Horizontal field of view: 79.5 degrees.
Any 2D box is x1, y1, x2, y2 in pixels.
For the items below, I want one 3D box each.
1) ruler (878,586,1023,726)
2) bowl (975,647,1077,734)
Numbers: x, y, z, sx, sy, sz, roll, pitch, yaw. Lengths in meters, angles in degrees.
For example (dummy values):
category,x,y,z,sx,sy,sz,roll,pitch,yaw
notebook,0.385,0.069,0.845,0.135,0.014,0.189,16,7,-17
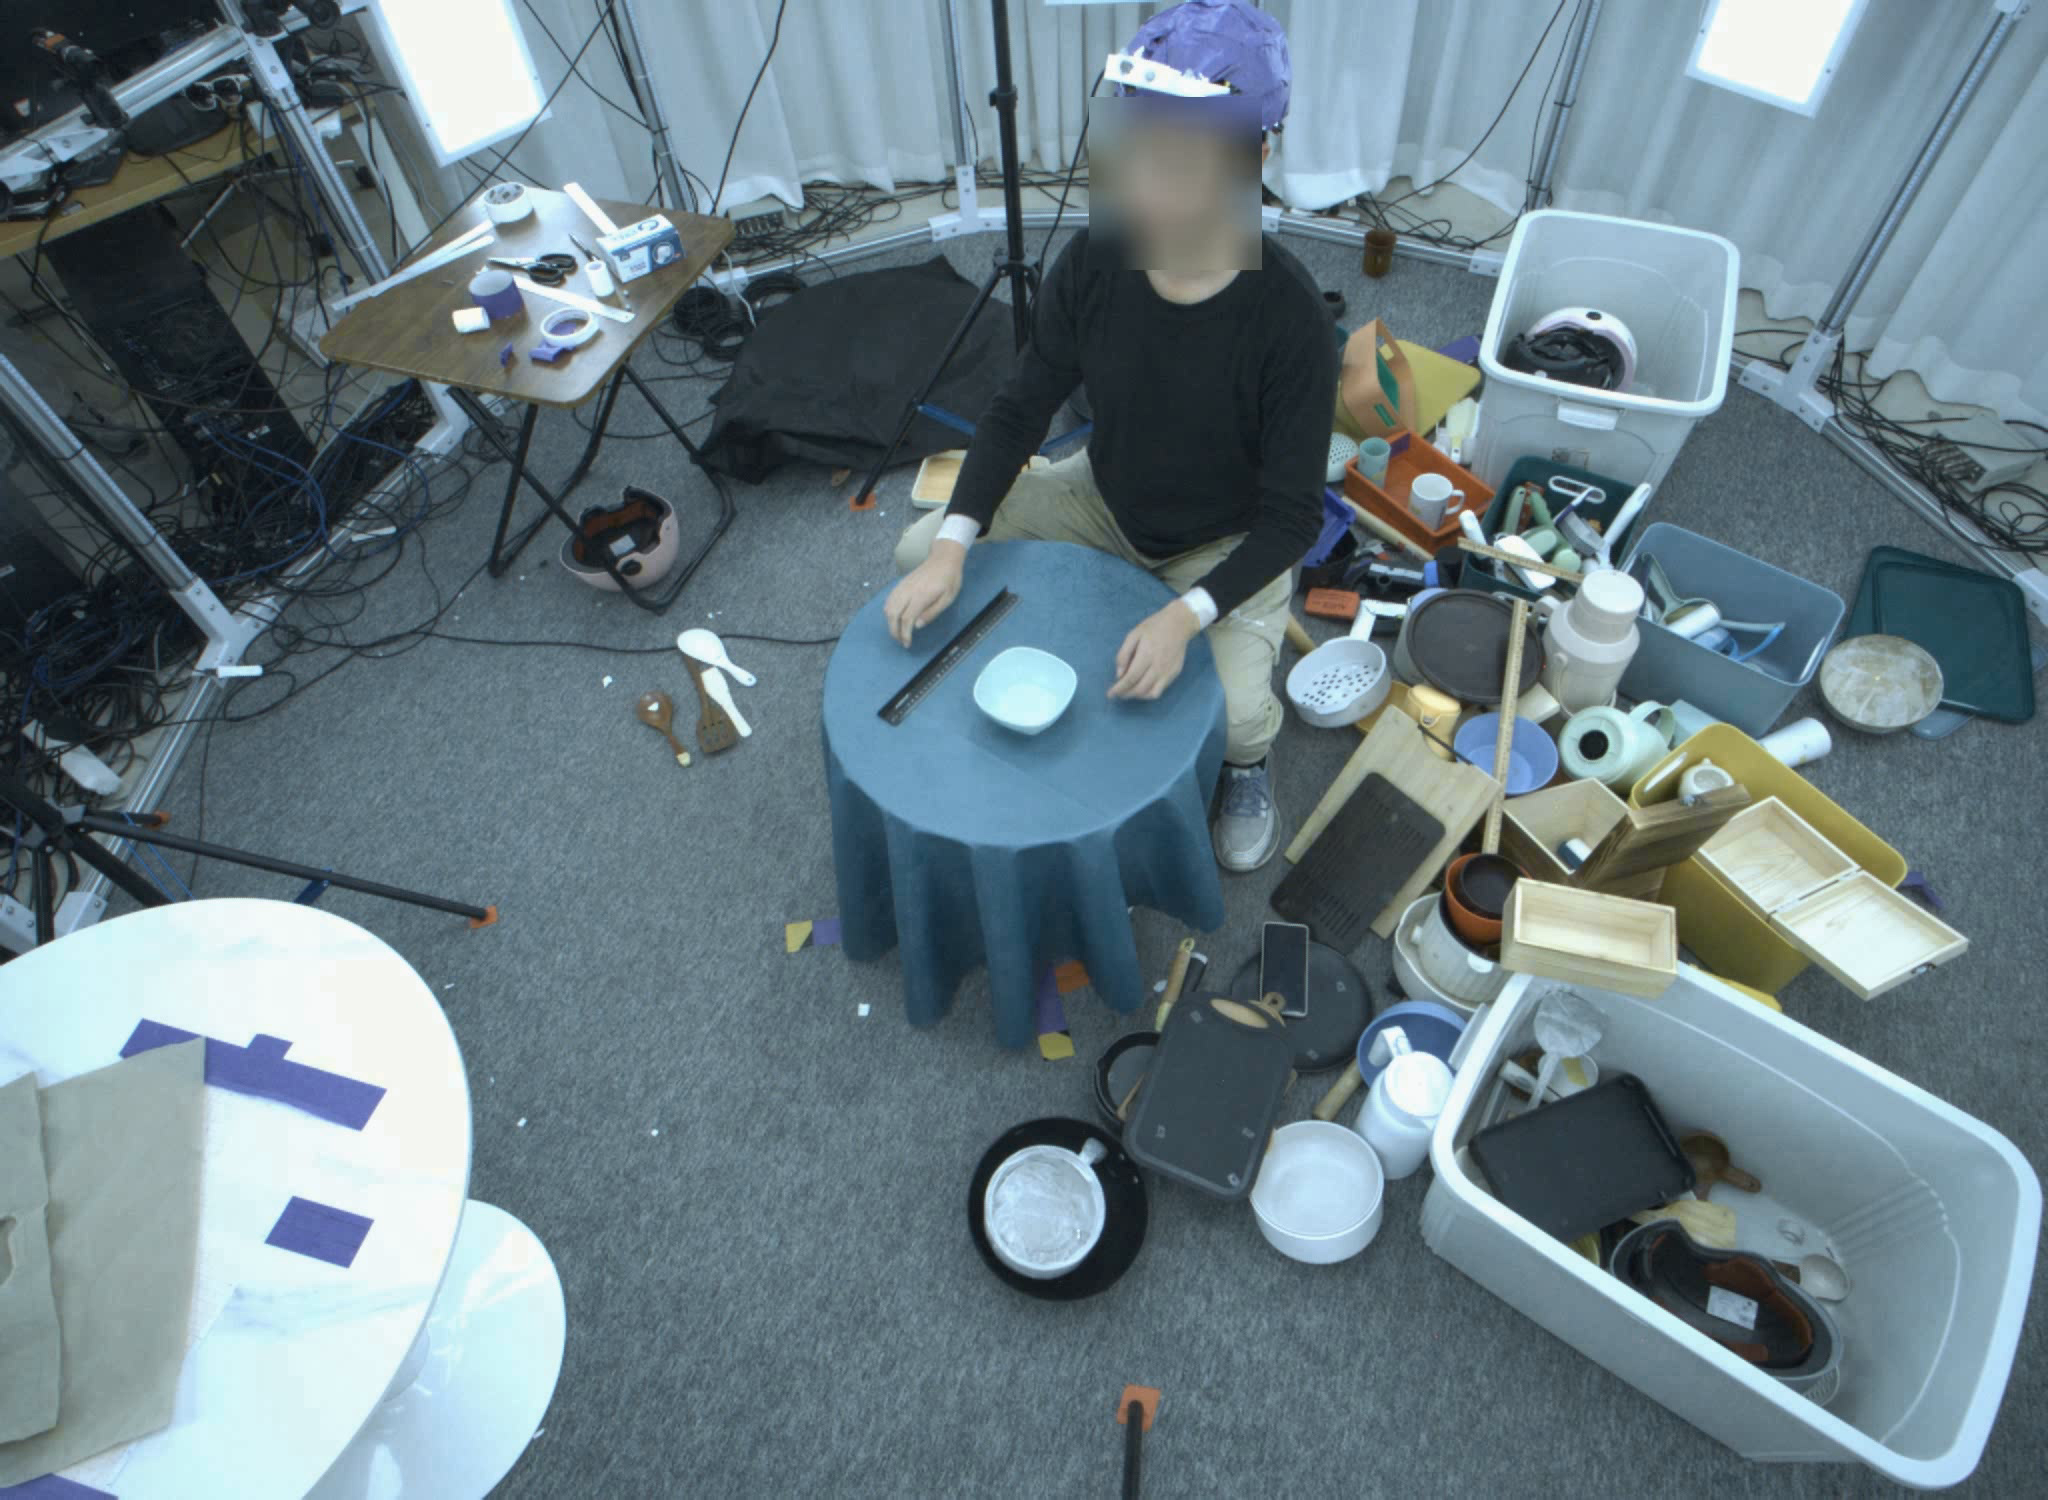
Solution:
category,x,y,z,sx,sy,sz,roll,pitch,yaw
ruler,-0.110,-0.150,1.887,0.039,0.017,0.314,33,62,18
bowl,0.005,-0.077,1.808,0.151,0.059,0.150,-1,56,3
